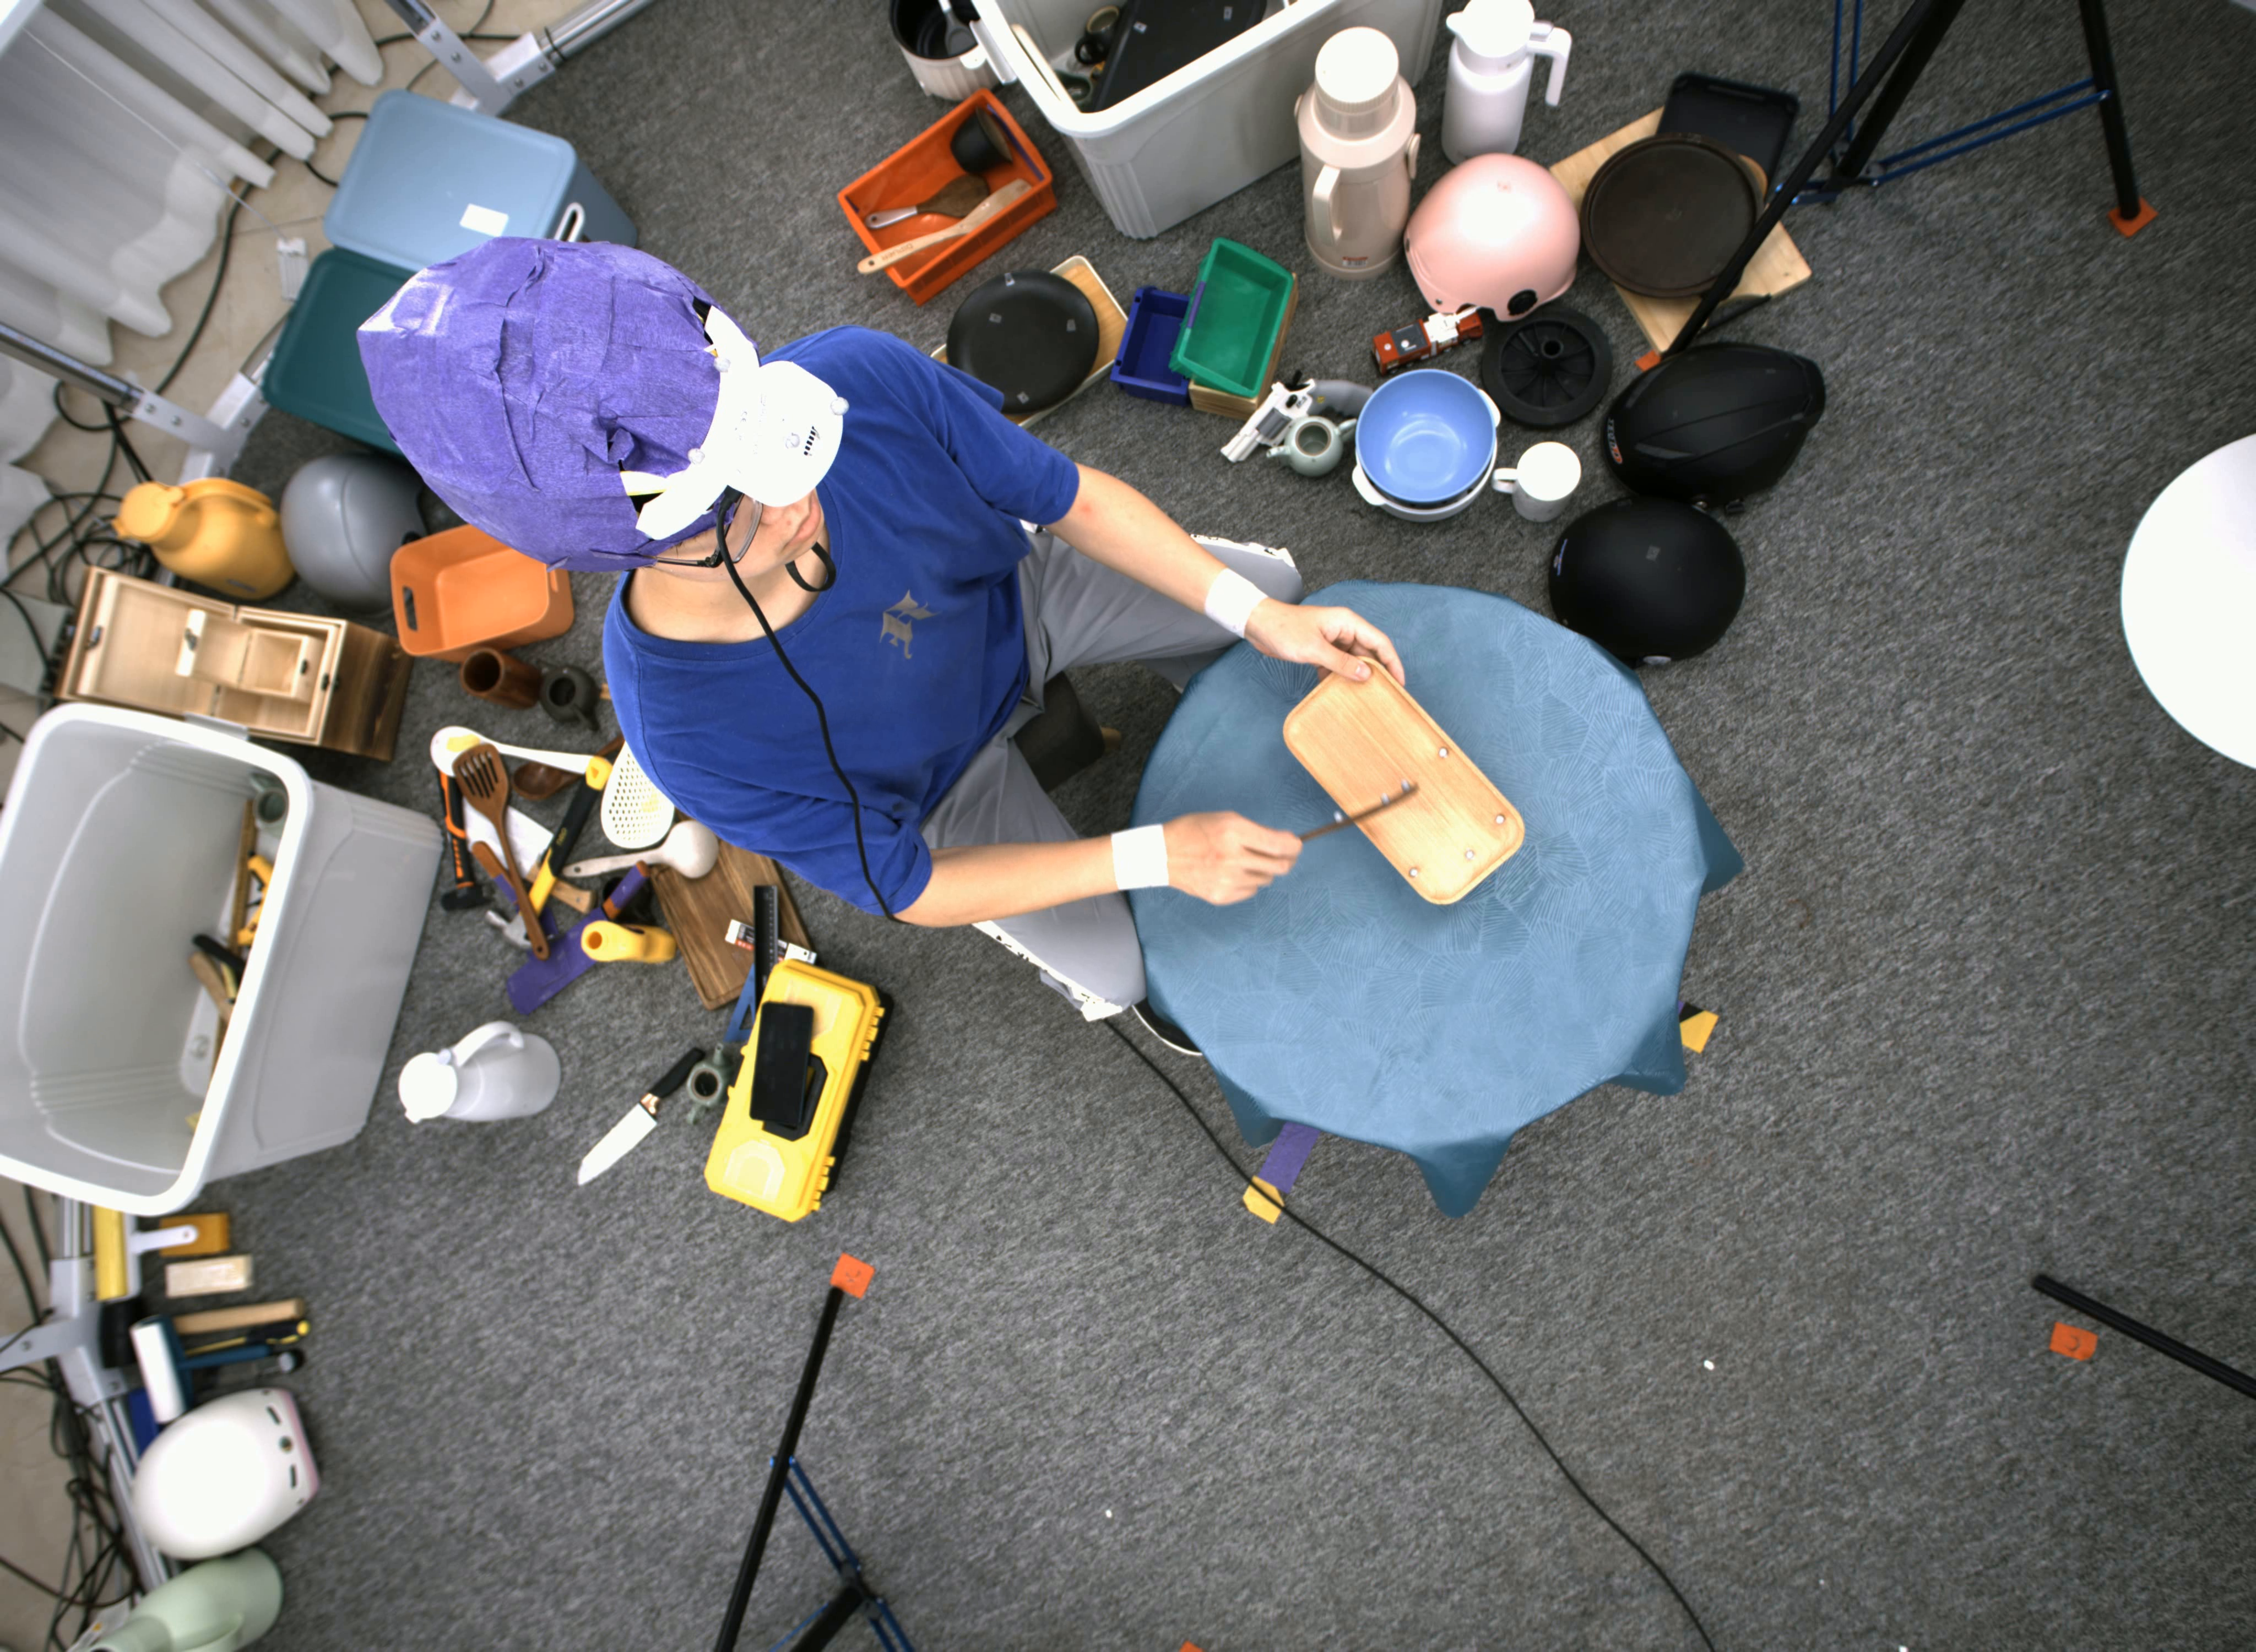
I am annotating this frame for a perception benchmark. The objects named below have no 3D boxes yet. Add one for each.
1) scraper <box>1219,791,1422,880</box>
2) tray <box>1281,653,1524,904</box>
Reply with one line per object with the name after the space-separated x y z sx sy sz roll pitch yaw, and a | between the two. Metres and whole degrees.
0.185 0.011 1.330 0.213 0.075 0.011 -23 91 14 | scraper
0.269 -0.048 1.355 0.133 0.022 0.250 -43 83 23 | tray
